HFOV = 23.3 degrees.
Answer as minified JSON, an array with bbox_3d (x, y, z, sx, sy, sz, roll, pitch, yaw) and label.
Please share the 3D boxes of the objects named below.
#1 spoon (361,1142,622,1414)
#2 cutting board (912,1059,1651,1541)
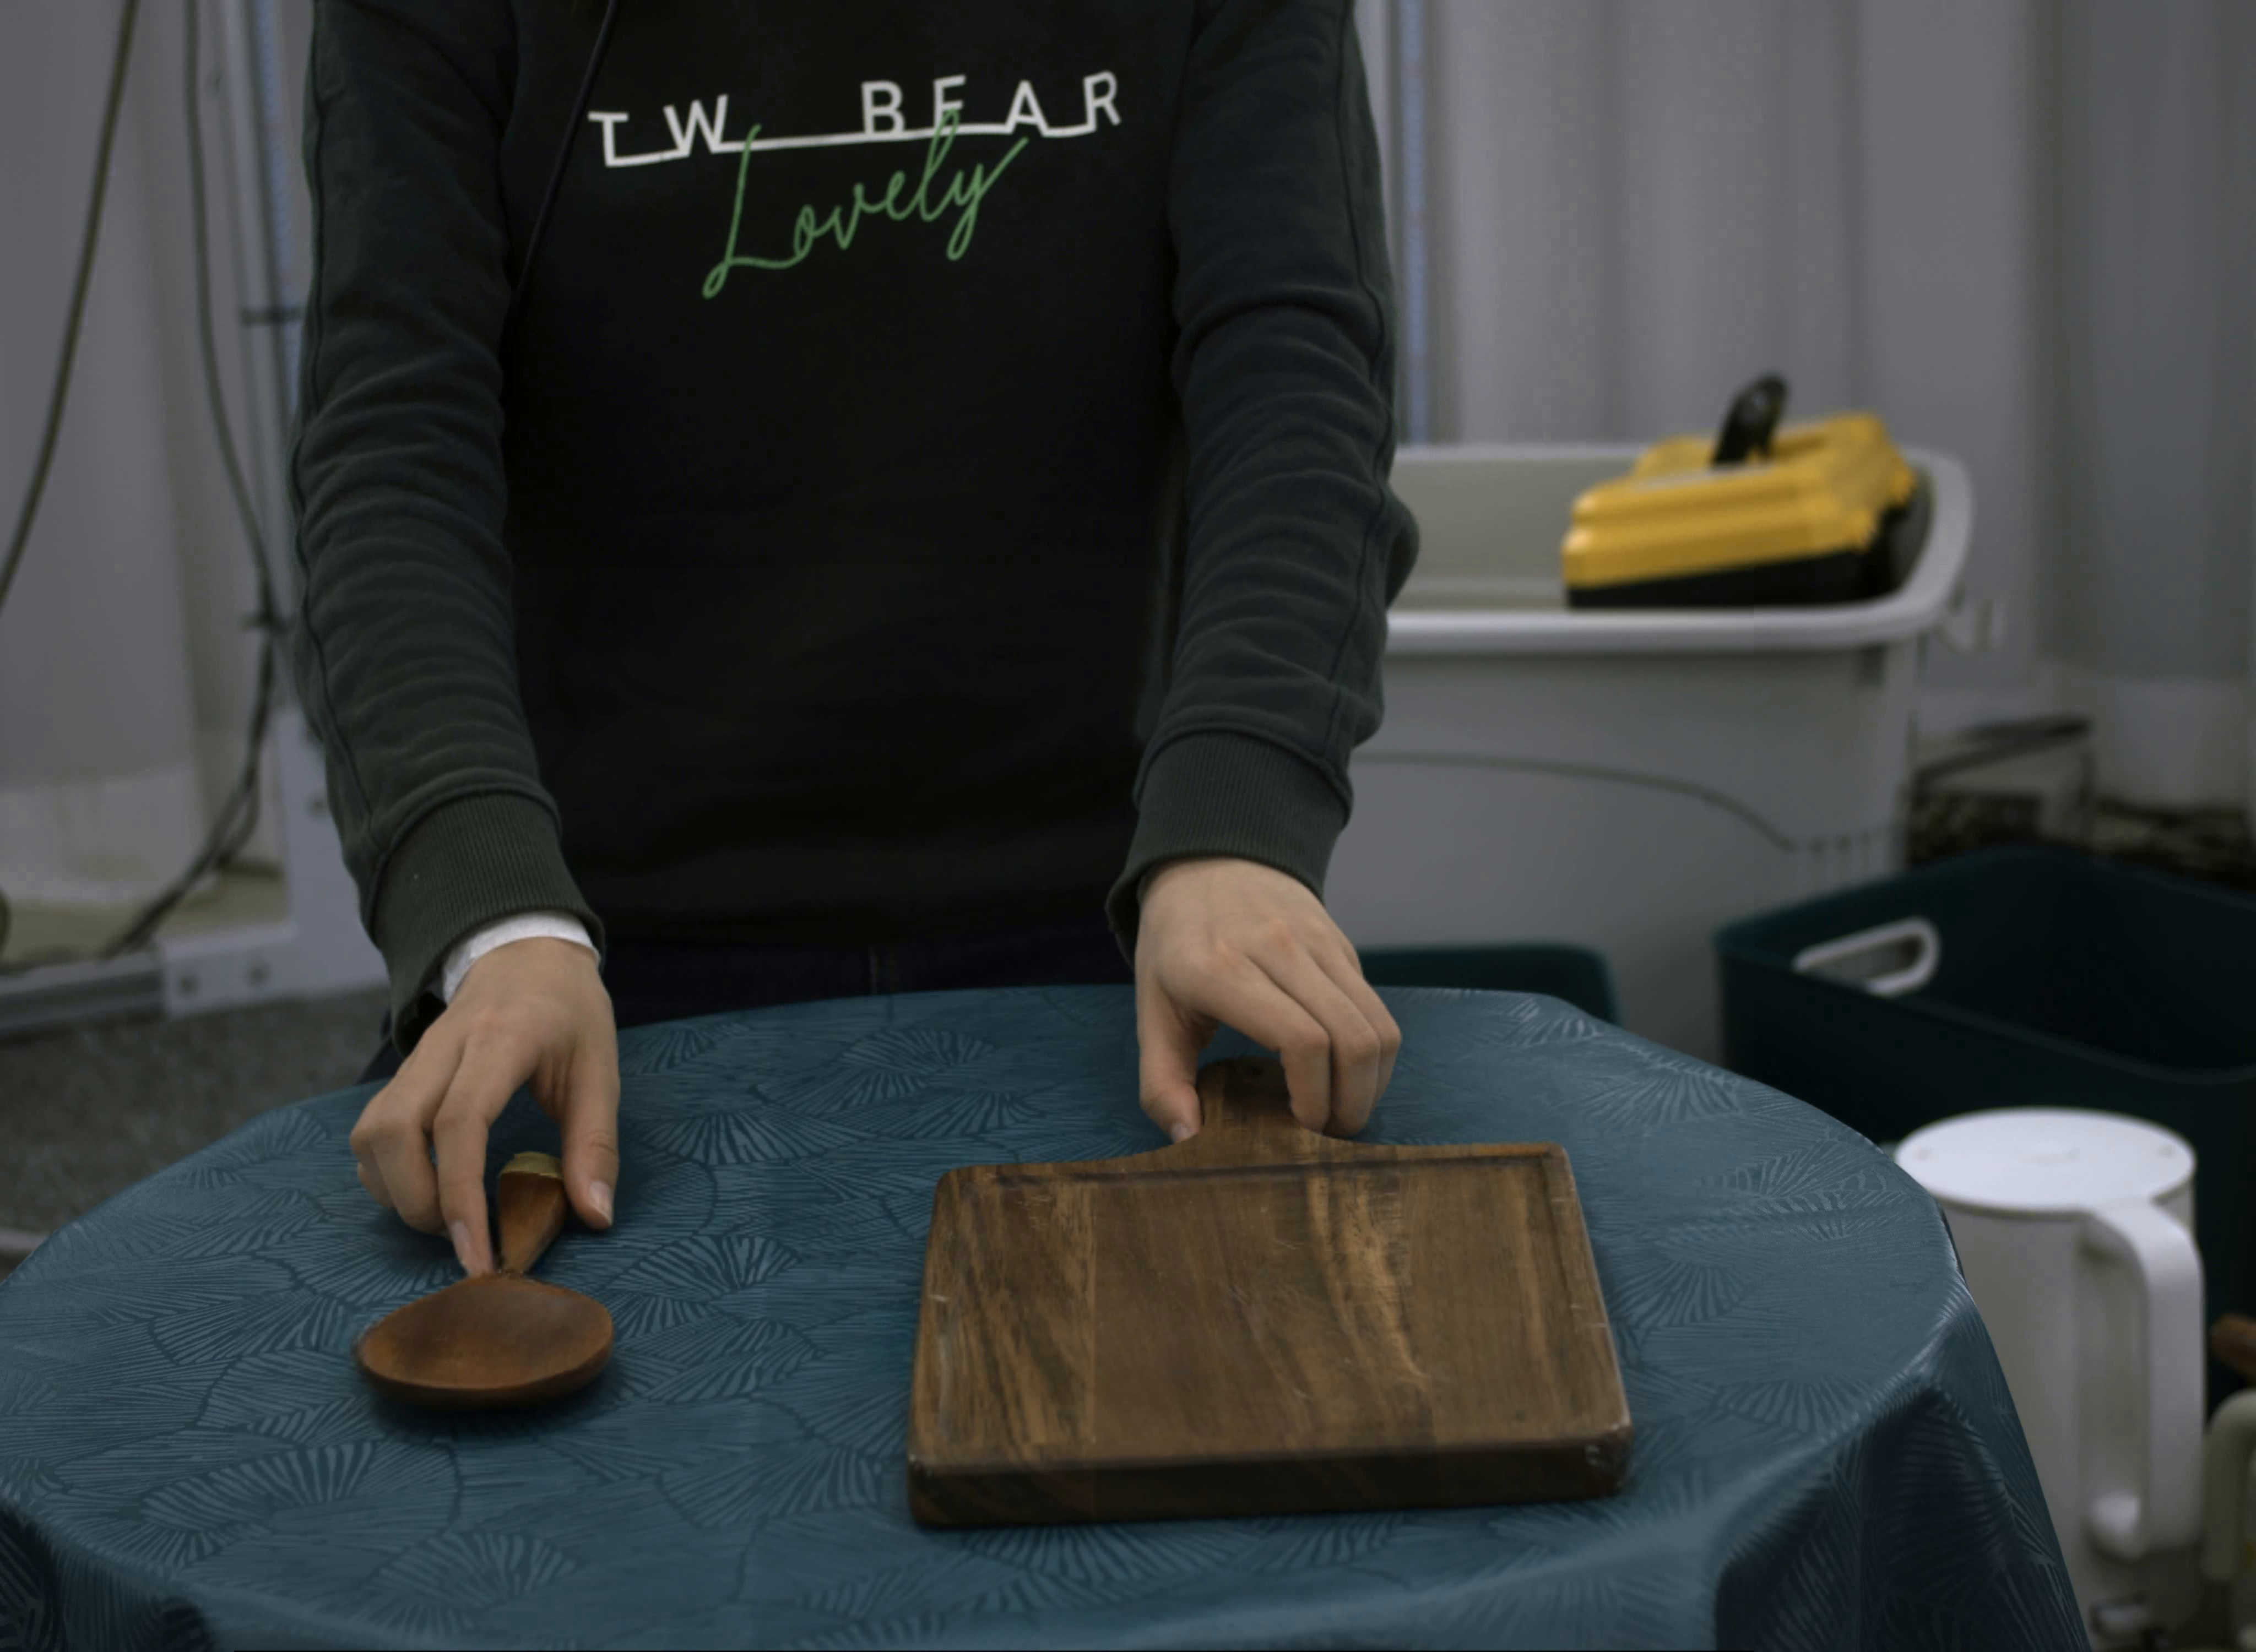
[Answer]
[{"bbox_3d":[-0.184,0.136,1.634,0.075,0.017,0.217,-5,16,0],"label":"spoon"},{"bbox_3d":[0.039,0.131,1.613,0.200,0.023,0.354,-3,15,1],"label":"cutting board"}]
